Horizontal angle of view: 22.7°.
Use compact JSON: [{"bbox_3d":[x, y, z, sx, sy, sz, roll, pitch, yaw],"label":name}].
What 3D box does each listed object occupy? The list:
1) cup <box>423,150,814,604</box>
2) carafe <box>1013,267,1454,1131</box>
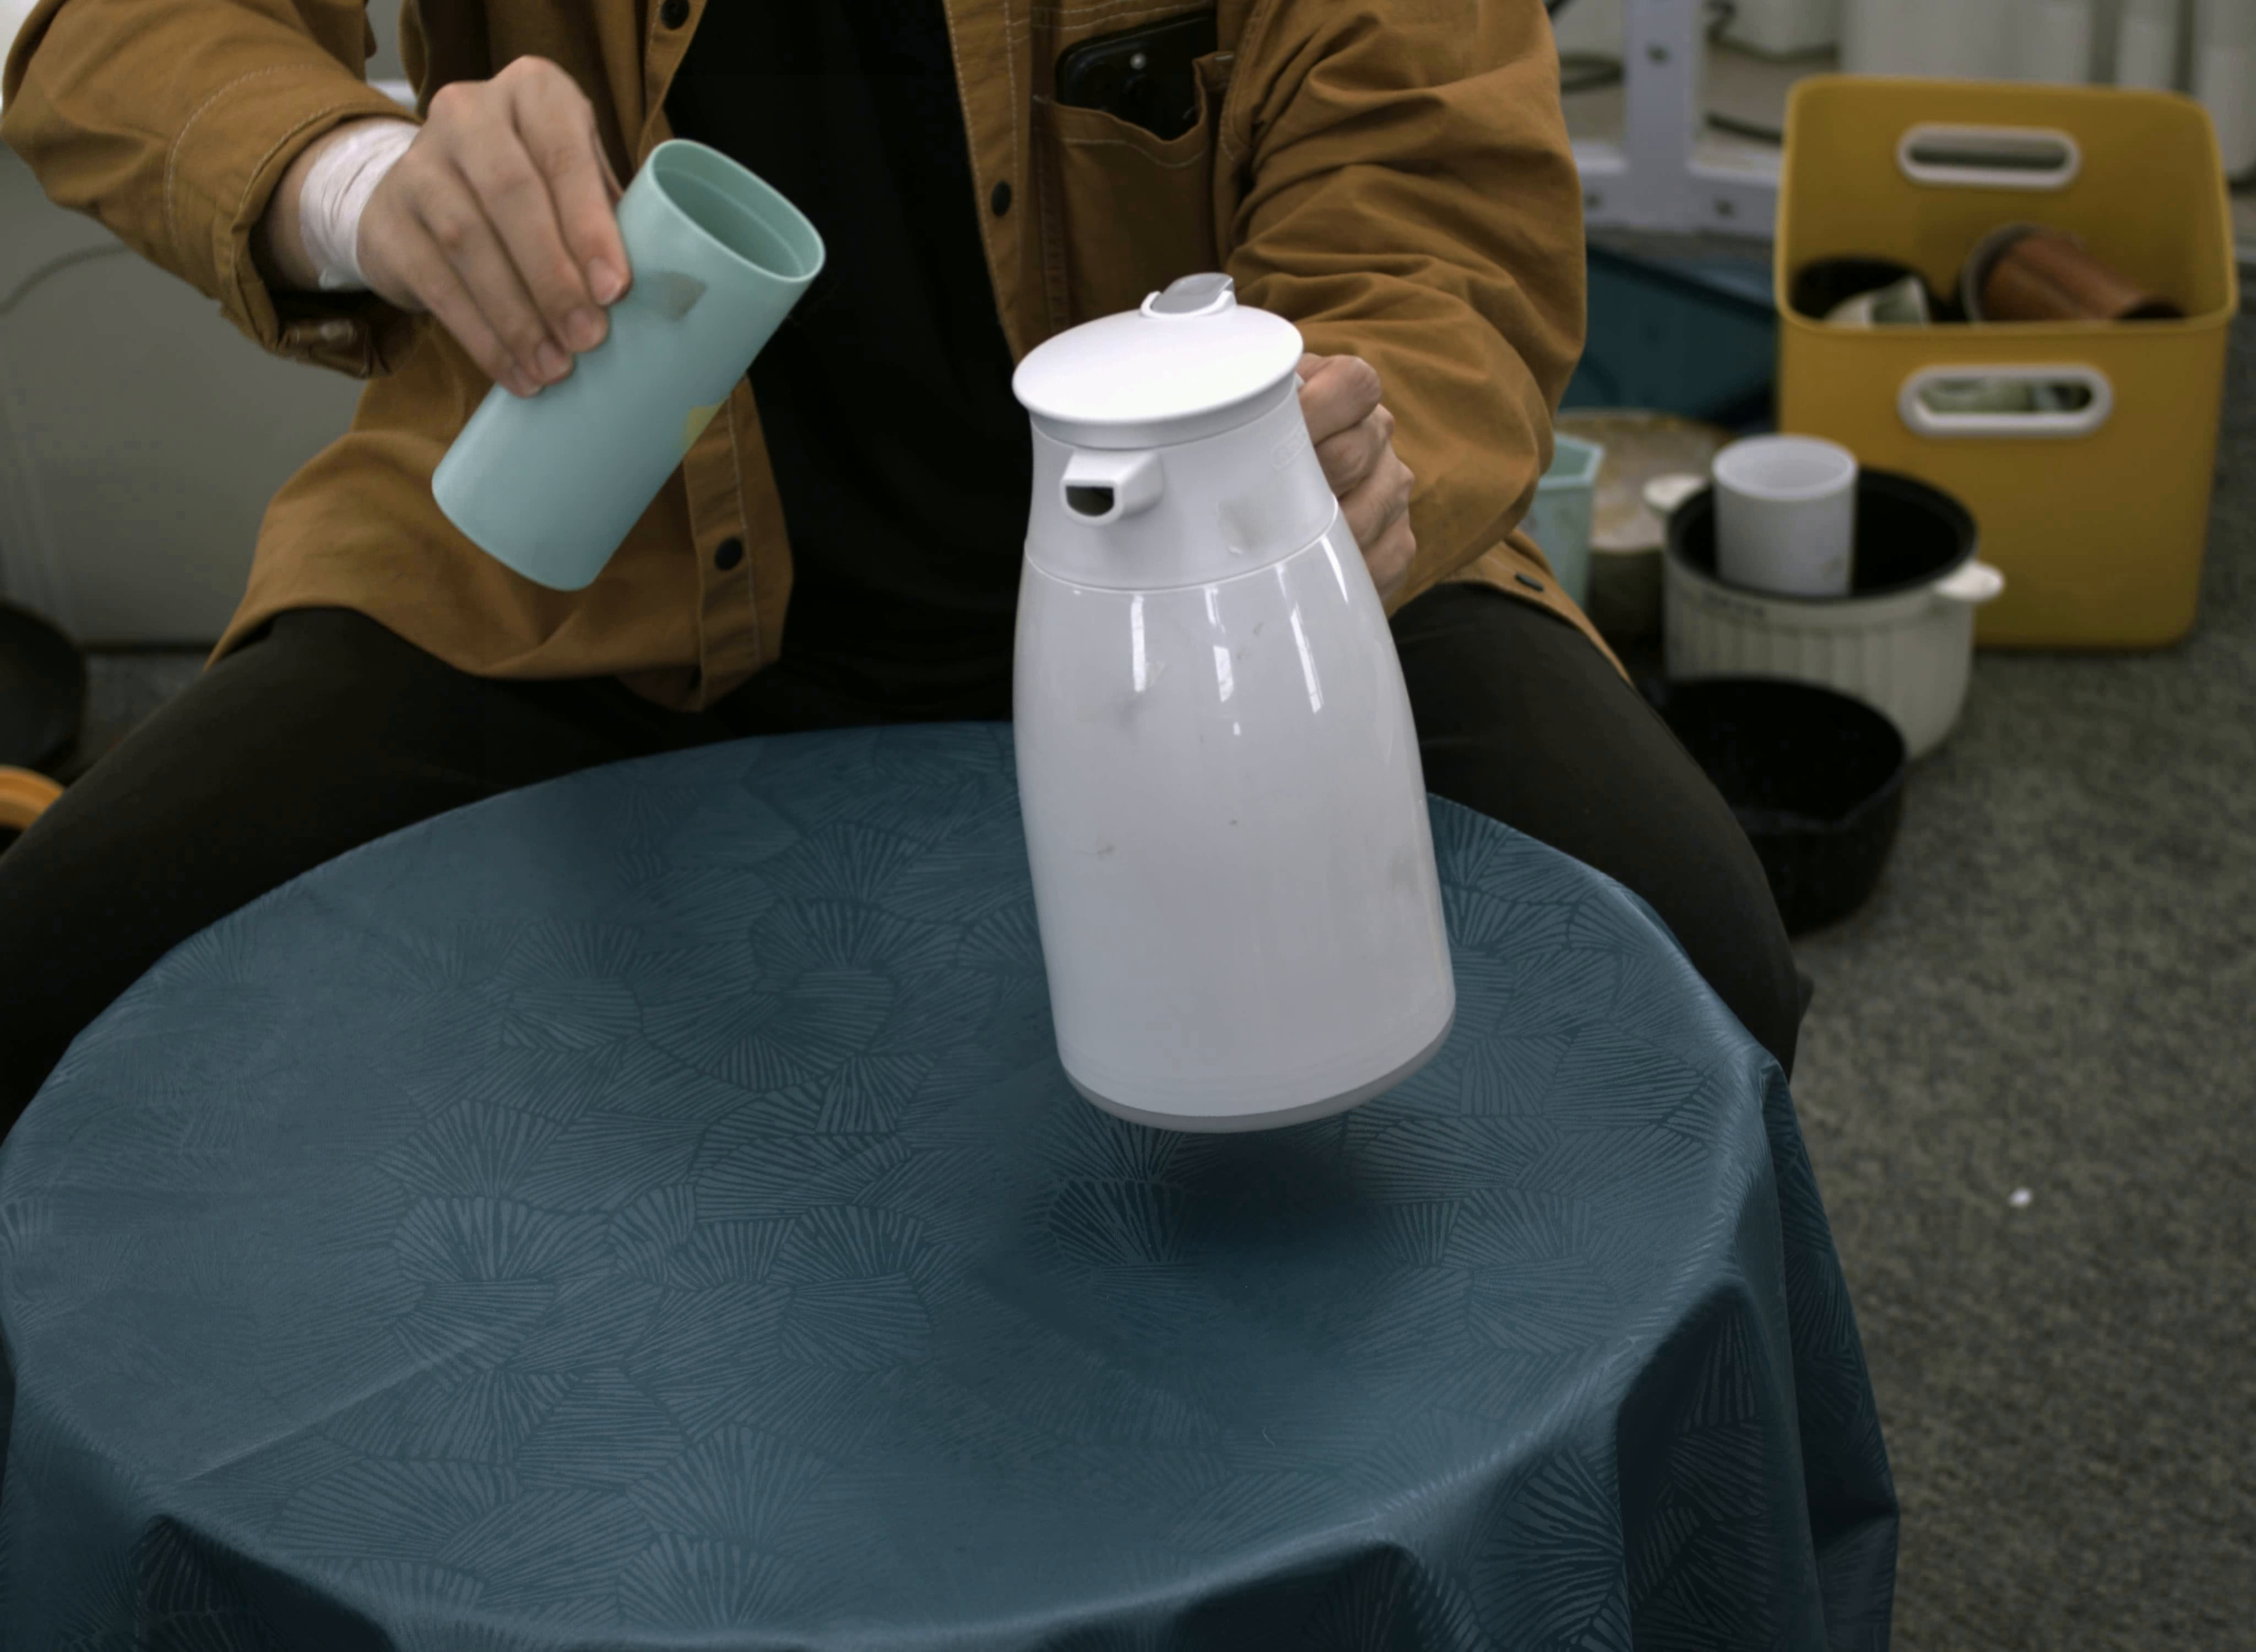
[{"bbox_3d":[-0.160,-0.140,1.750,0.066,0.131,0.068,31,22,-14],"label":"cup"},{"bbox_3d":[0.031,-0.051,1.809,0.131,0.246,0.170,2,26,22],"label":"carafe"}]
